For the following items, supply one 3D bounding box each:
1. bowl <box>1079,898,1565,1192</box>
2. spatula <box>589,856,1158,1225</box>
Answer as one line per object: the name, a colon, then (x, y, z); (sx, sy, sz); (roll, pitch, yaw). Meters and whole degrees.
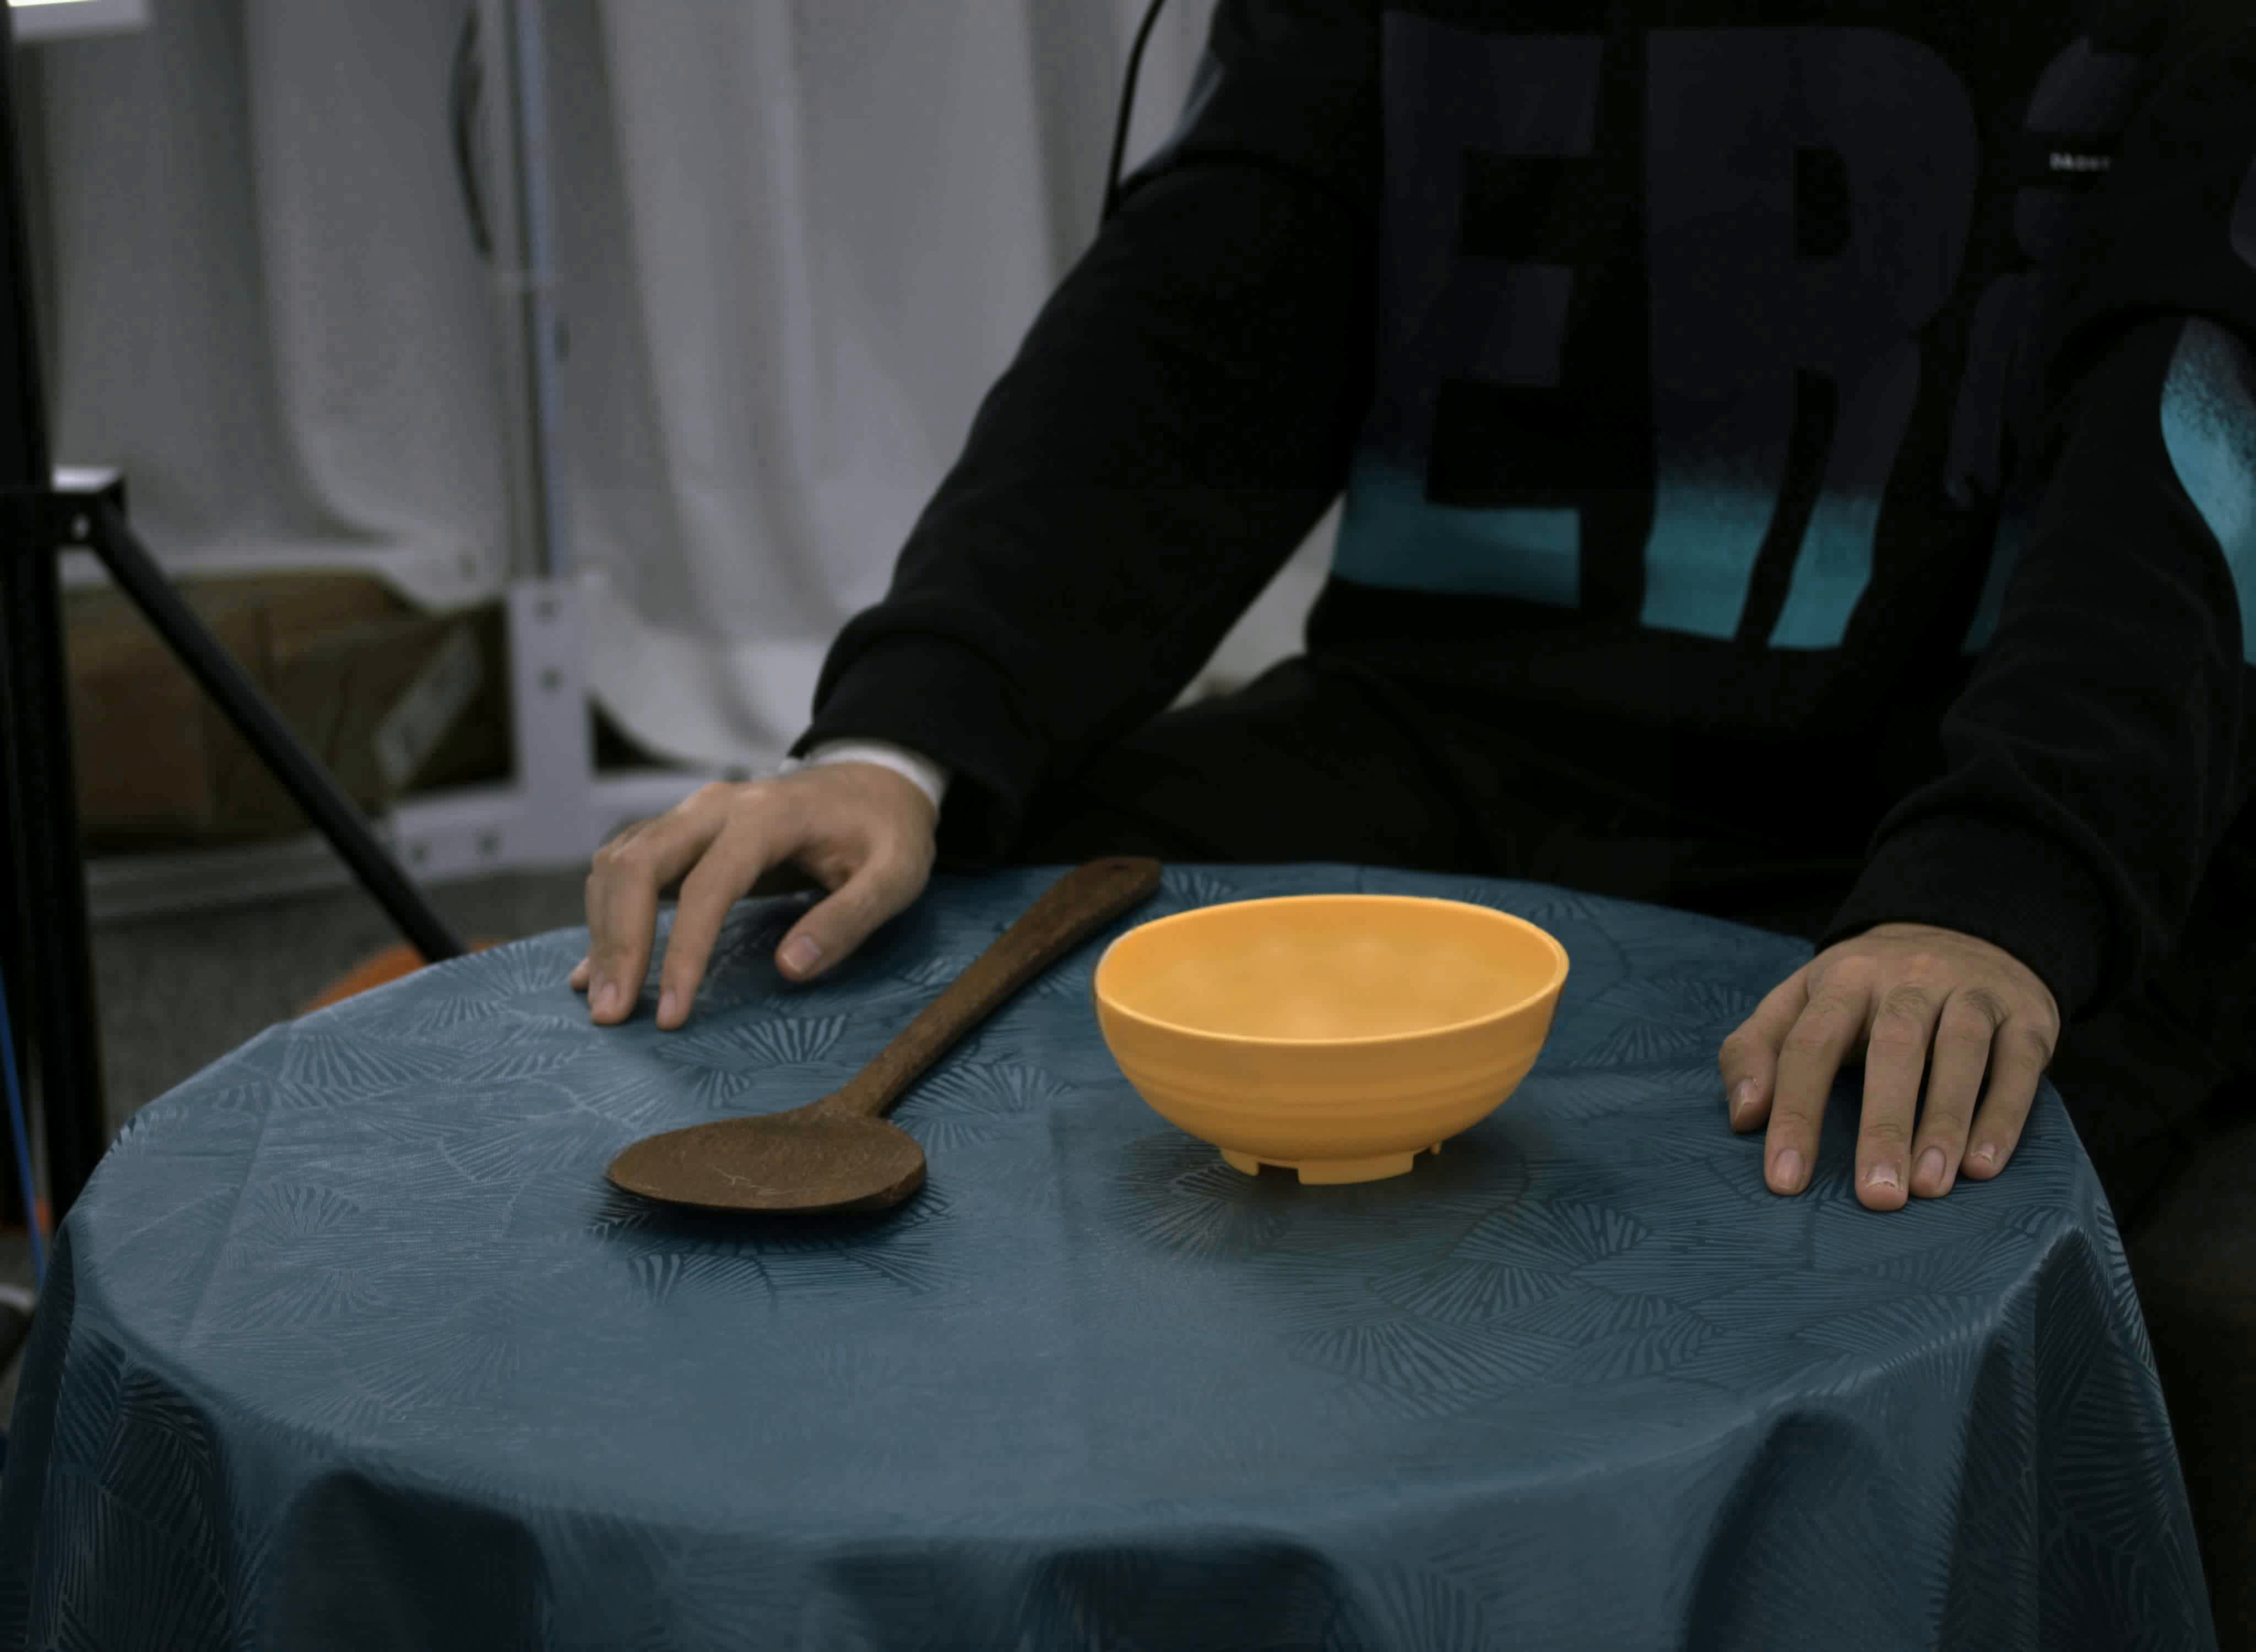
bowl: (0.057, 0.071, 1.581); (0.144, 0.060, 0.146); (0, 16, -1)
spatula: (-0.059, 0.063, 1.704); (0.097, 0.016, 0.381); (3, 17, 19)
